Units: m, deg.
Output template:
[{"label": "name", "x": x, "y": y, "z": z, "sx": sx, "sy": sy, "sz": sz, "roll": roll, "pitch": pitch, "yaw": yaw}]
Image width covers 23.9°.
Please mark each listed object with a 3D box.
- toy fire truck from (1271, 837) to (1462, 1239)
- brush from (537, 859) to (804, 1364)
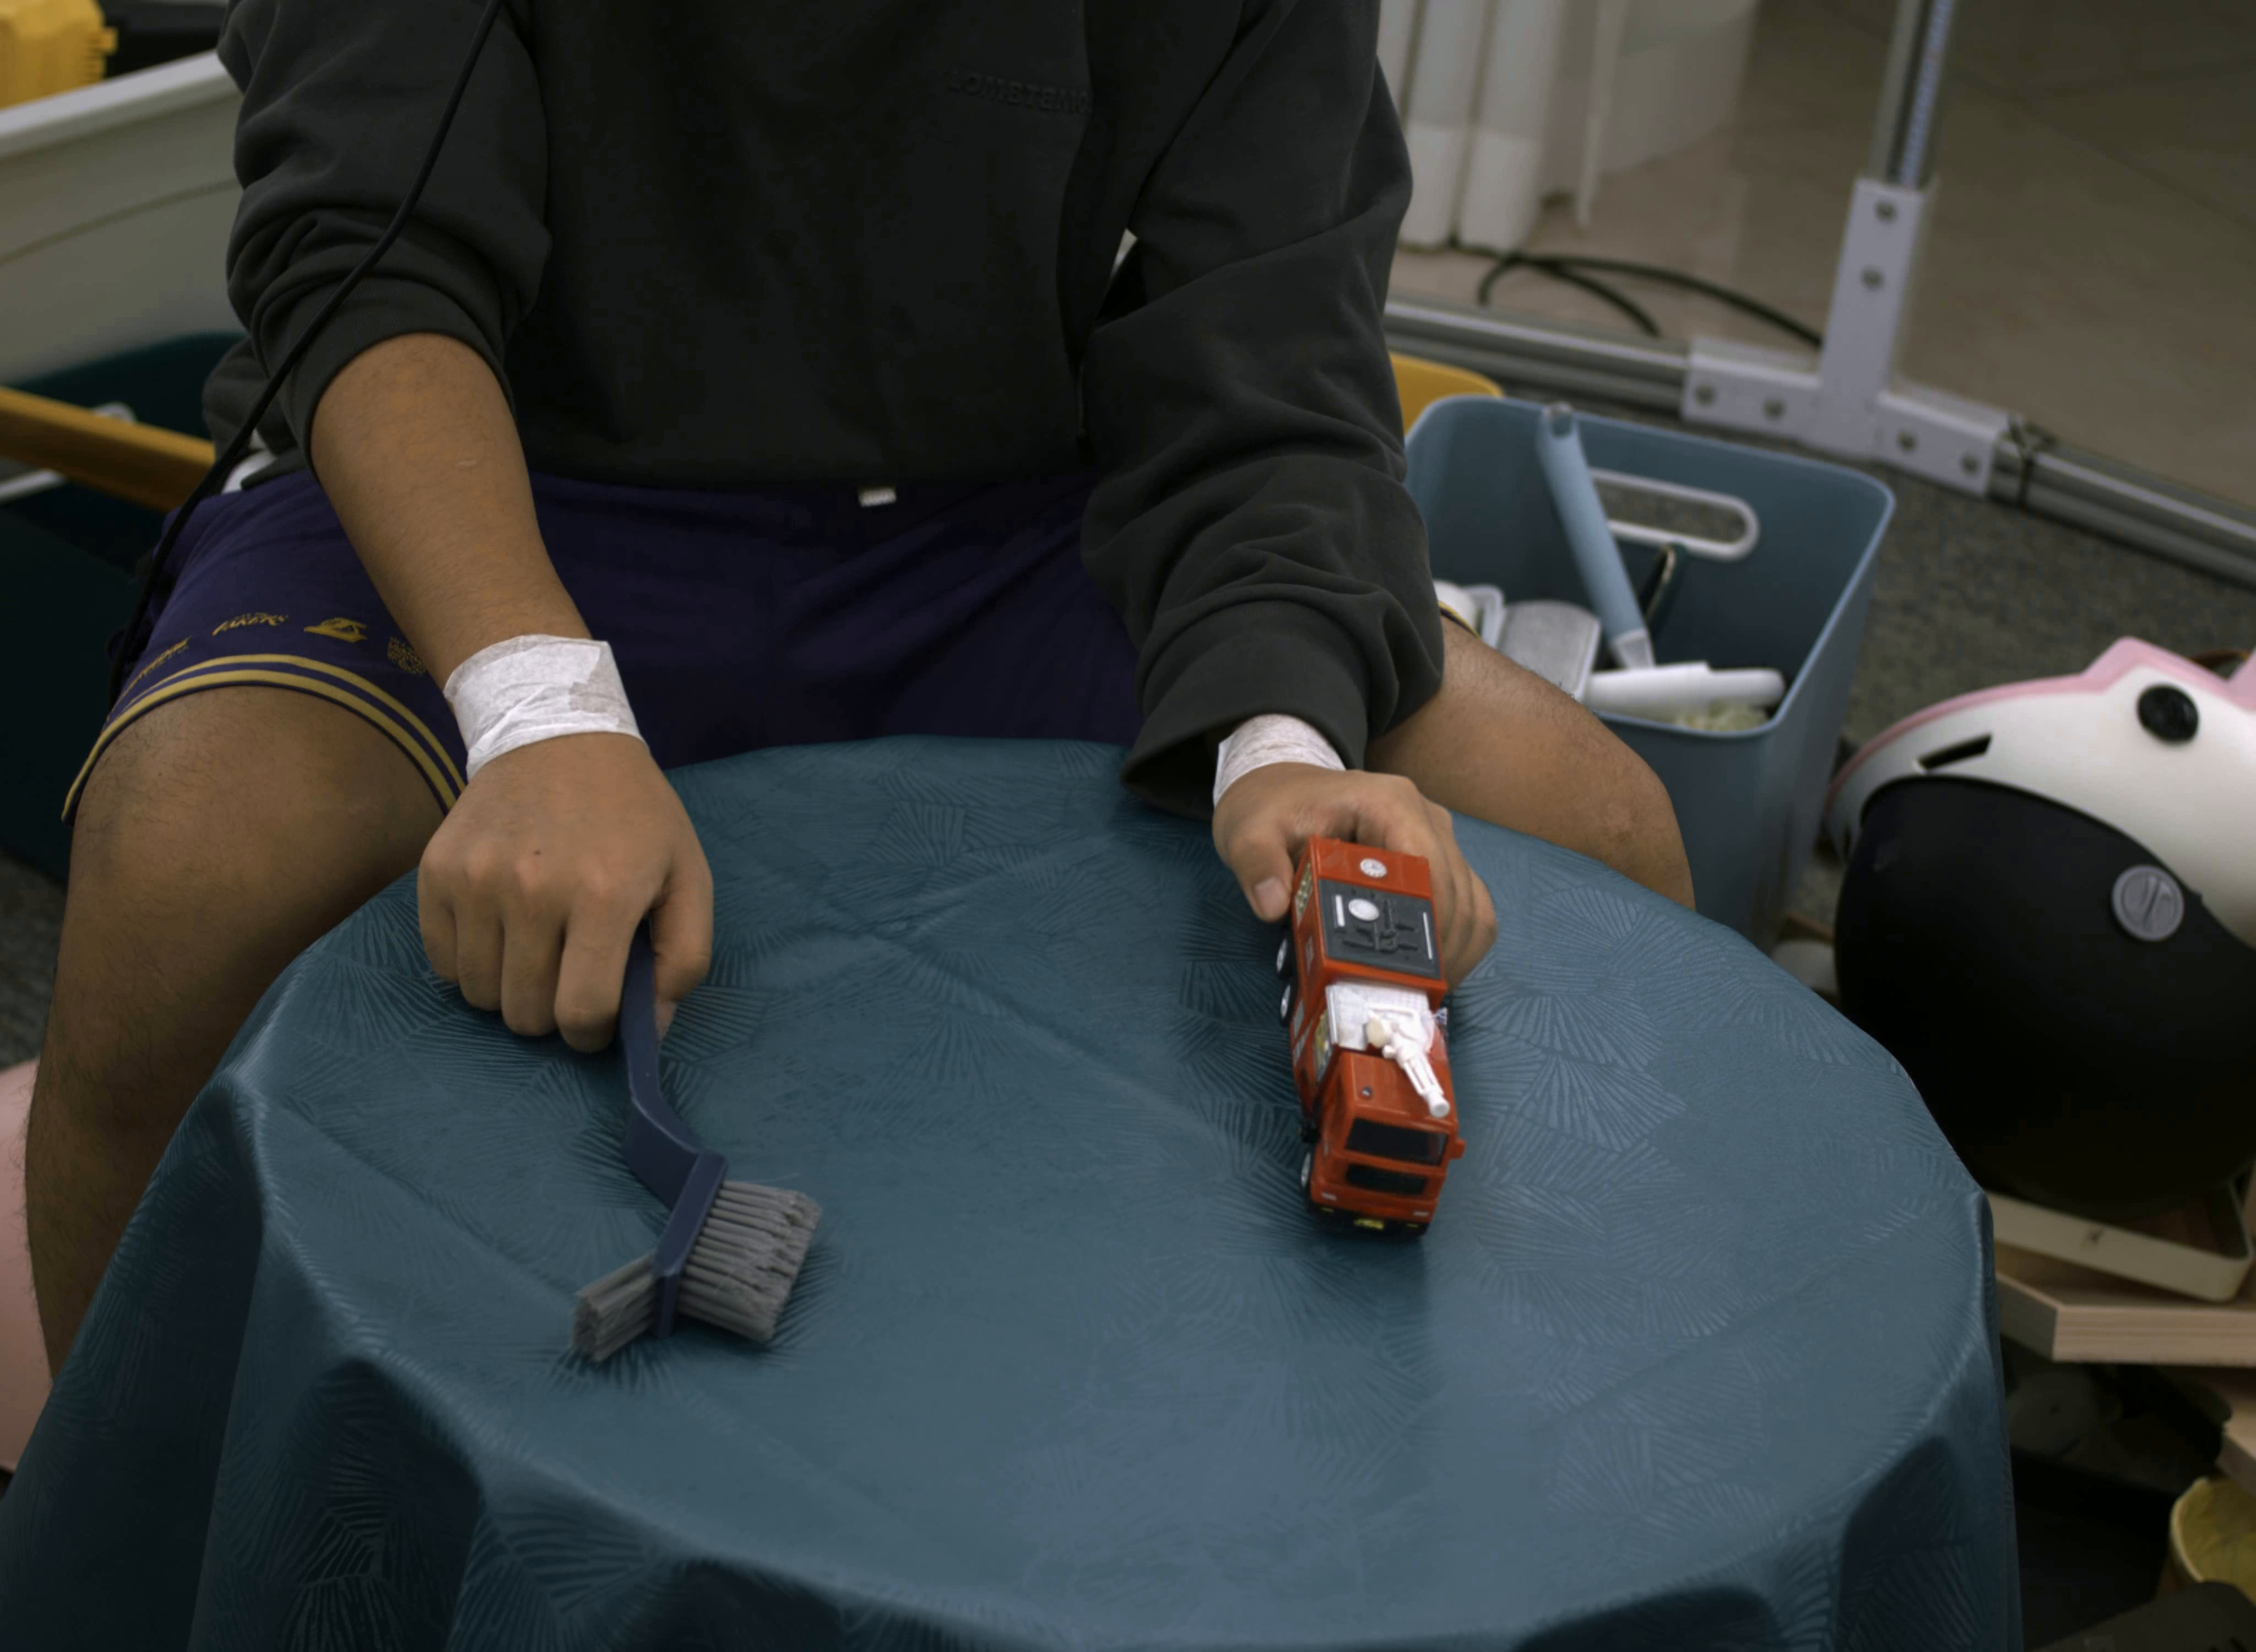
[{"label": "toy fire truck", "x": 0.083, "y": 0.072, "z": 1.834, "sx": 0.054, "sy": 0.070, "sz": 0.169, "roll": 10, "pitch": 34, "yaw": -11}, {"label": "brush", "x": -0.170, "y": 0.092, "z": 1.790, "sx": 0.095, "sy": 0.033, "sz": 0.275, "roll": -2, "pitch": 29, "yaw": -15}]
